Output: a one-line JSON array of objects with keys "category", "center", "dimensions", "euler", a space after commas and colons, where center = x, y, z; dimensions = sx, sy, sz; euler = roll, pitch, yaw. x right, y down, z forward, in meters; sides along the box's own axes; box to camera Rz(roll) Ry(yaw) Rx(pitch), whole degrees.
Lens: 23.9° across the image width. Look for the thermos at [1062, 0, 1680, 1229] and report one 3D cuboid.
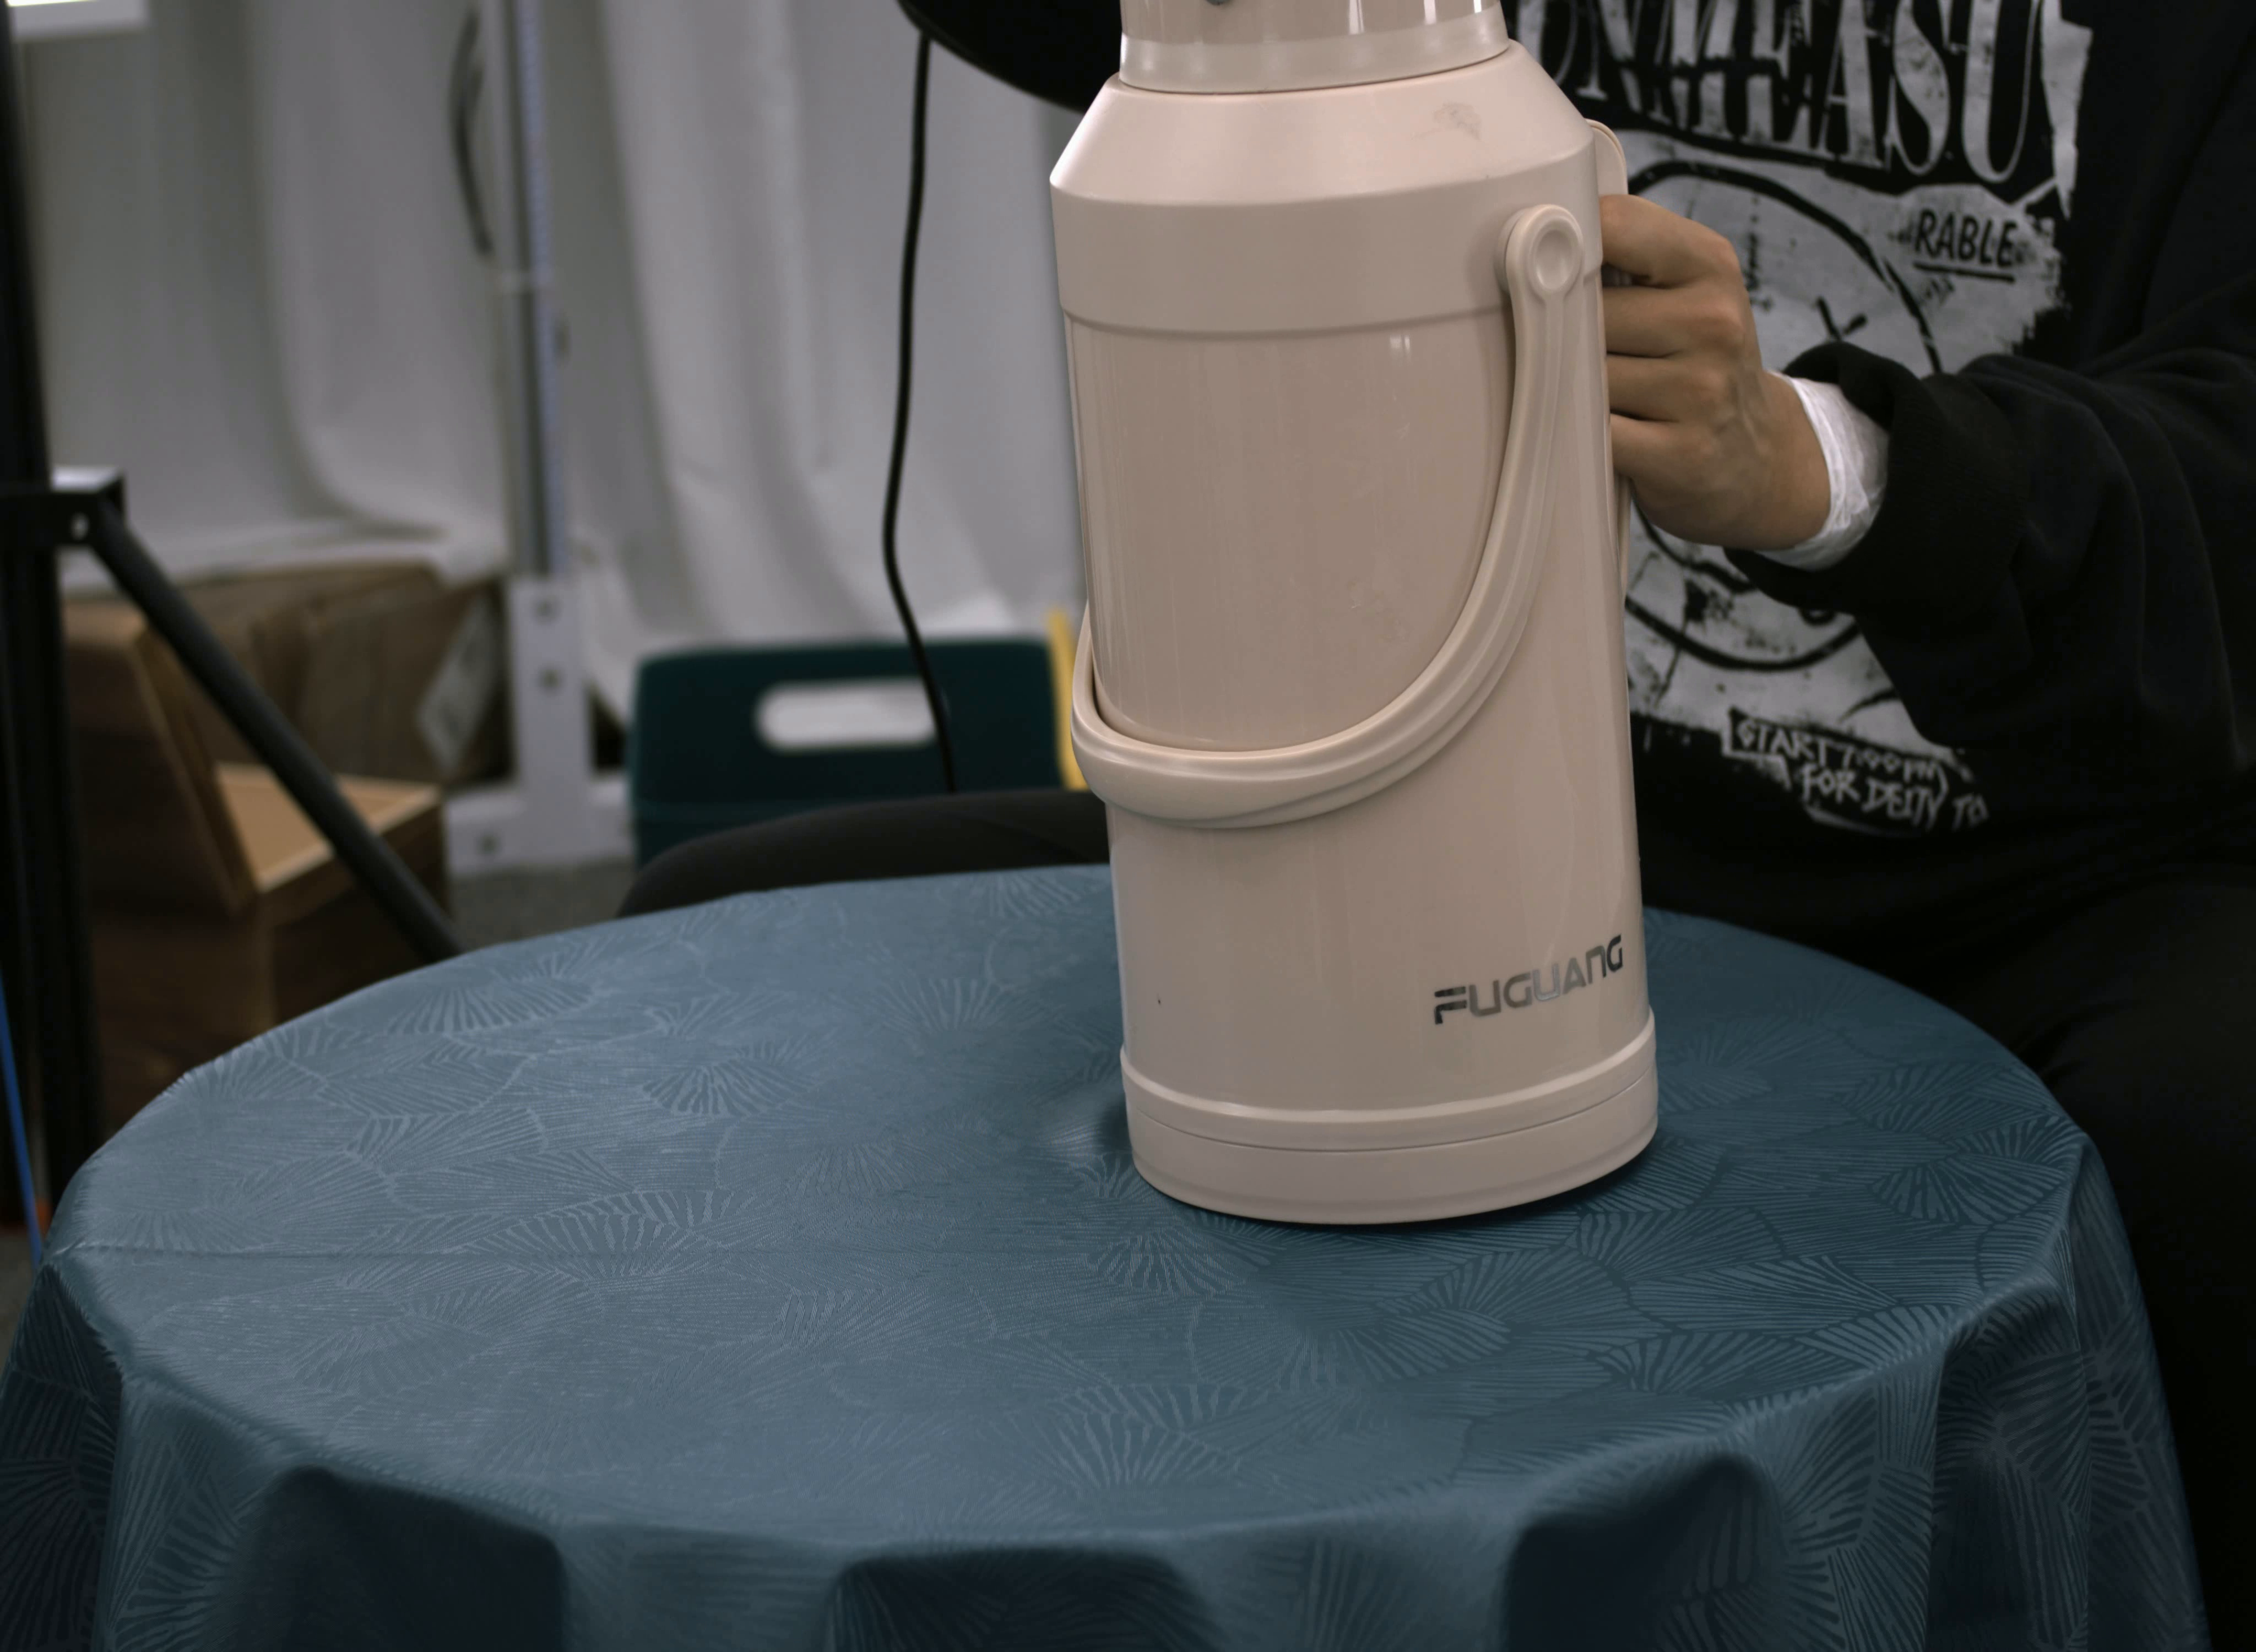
[{"category": "thermos", "center": [0.079, -0.101, 1.542], "dimensions": [0.202, 0.406, 0.179], "euler": [-18, 18, -40]}]
